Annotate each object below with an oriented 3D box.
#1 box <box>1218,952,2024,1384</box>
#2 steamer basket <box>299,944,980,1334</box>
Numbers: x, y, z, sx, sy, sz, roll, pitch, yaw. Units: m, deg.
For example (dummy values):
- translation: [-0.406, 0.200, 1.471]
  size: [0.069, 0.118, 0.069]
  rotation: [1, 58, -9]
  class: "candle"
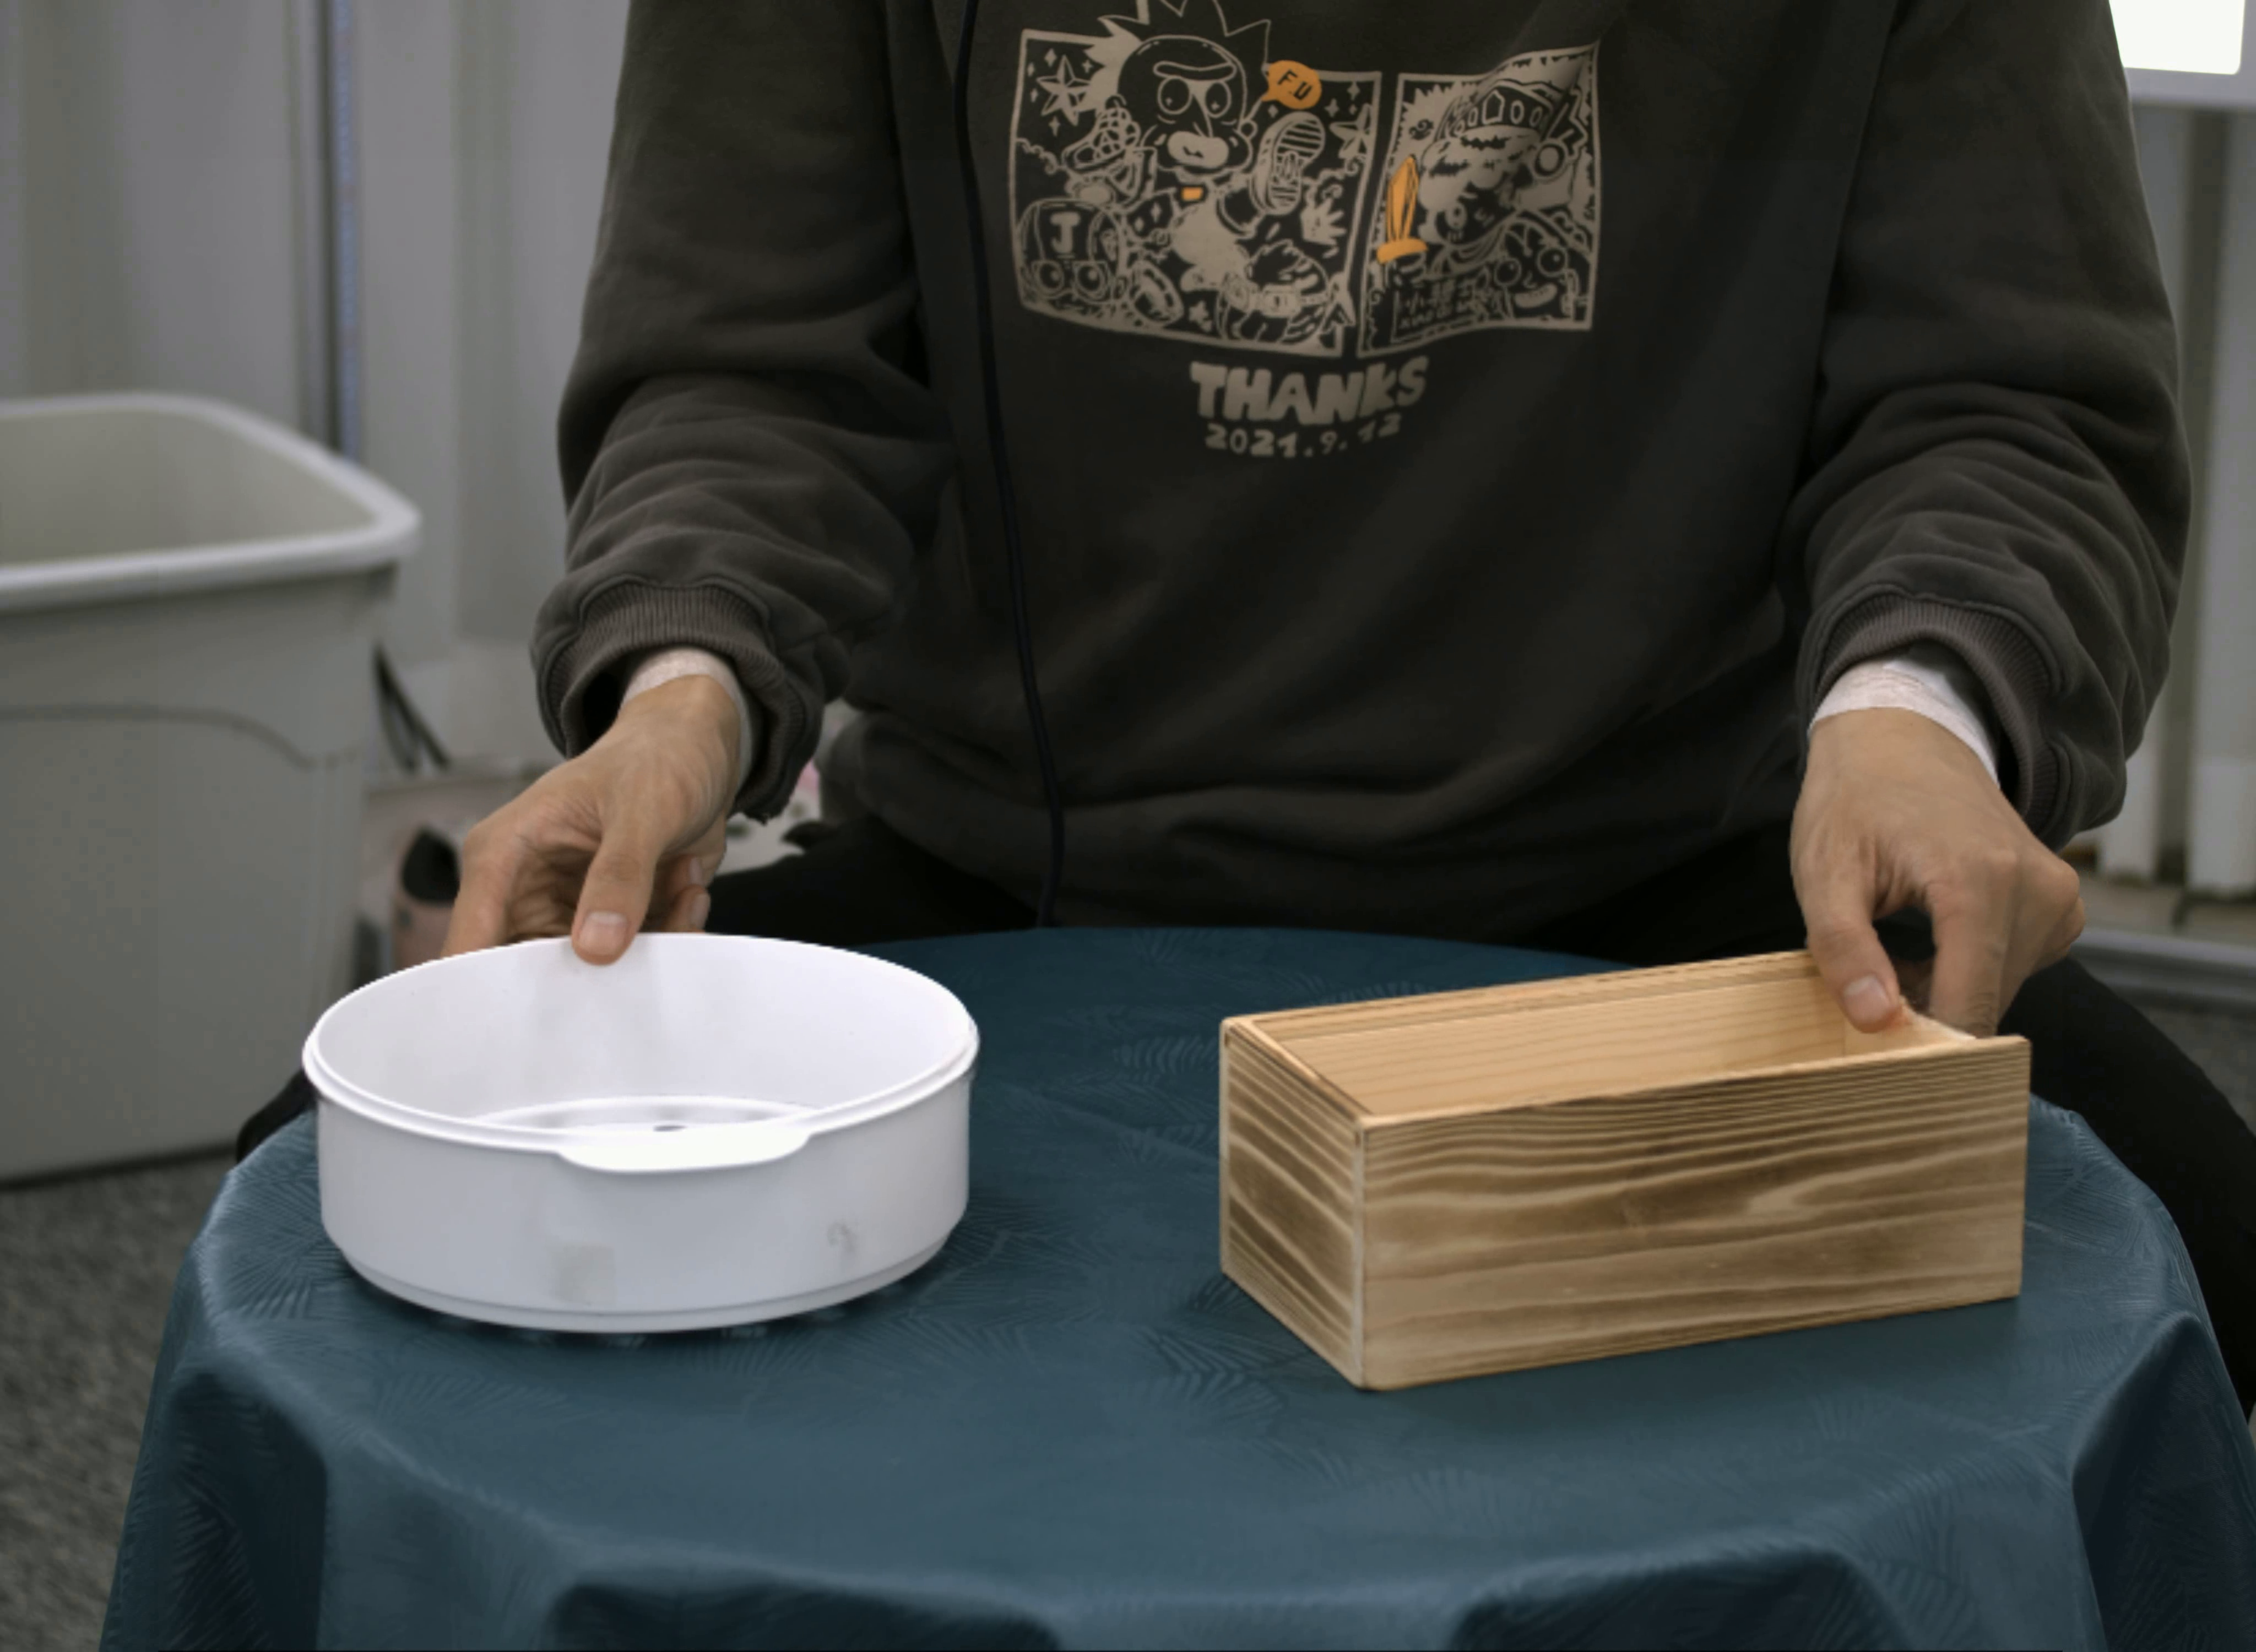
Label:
- translation: [0.143, 0.097, 1.541]
  size: [0.212, 0.081, 0.106]
  rotation: [-6, 16, -21]
  class: "box"
- translation: [-0.145, 0.092, 1.570]
  size: [0.202, 0.070, 0.228]
  rotation: [-2, 15, -12]
  class: "steamer basket"
